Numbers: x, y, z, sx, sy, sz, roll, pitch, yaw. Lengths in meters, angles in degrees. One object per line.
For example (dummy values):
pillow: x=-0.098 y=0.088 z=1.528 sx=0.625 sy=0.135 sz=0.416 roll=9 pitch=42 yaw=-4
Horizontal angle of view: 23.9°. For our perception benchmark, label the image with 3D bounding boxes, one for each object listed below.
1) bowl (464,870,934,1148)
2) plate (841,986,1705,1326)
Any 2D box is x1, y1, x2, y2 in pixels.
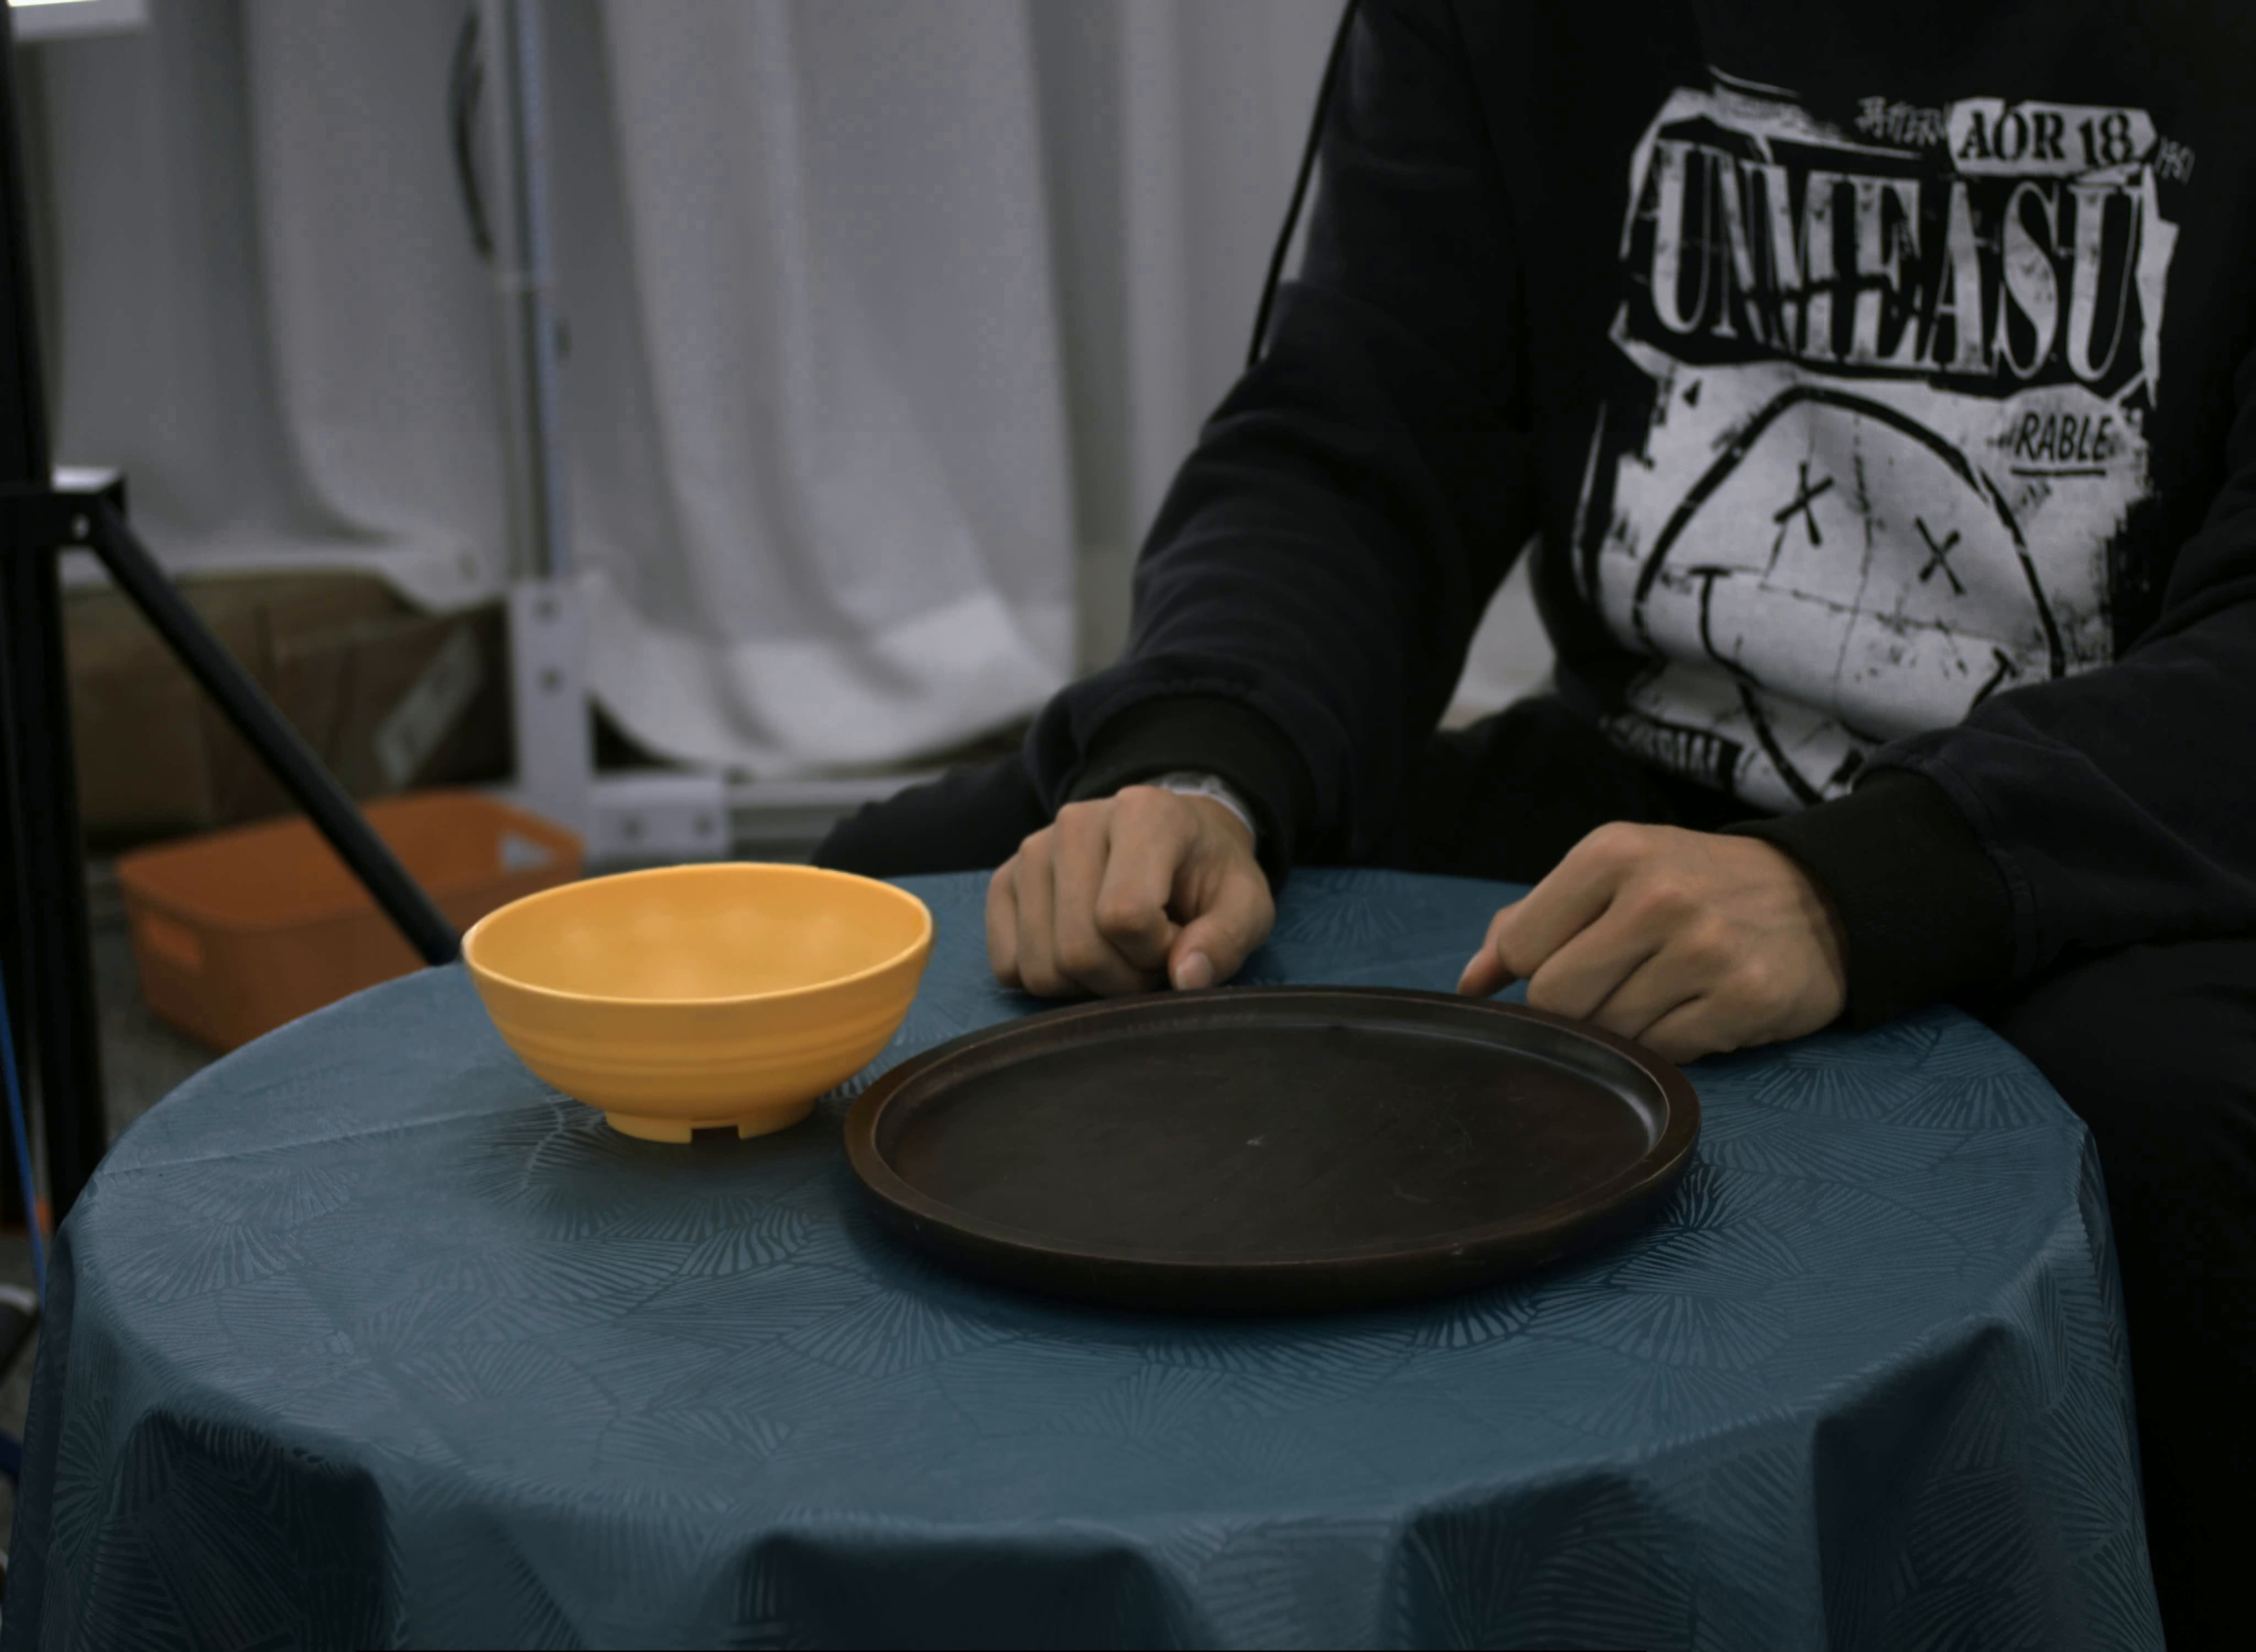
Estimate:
bowl: x=-0.132 y=0.061 z=1.644 sx=0.144 sy=0.060 sz=0.146 roll=0 pitch=15 yaw=-1
plate: x=0.043 y=0.095 z=1.558 sx=0.253 sy=0.029 sz=0.256 roll=-4 pitch=14 yaw=0
